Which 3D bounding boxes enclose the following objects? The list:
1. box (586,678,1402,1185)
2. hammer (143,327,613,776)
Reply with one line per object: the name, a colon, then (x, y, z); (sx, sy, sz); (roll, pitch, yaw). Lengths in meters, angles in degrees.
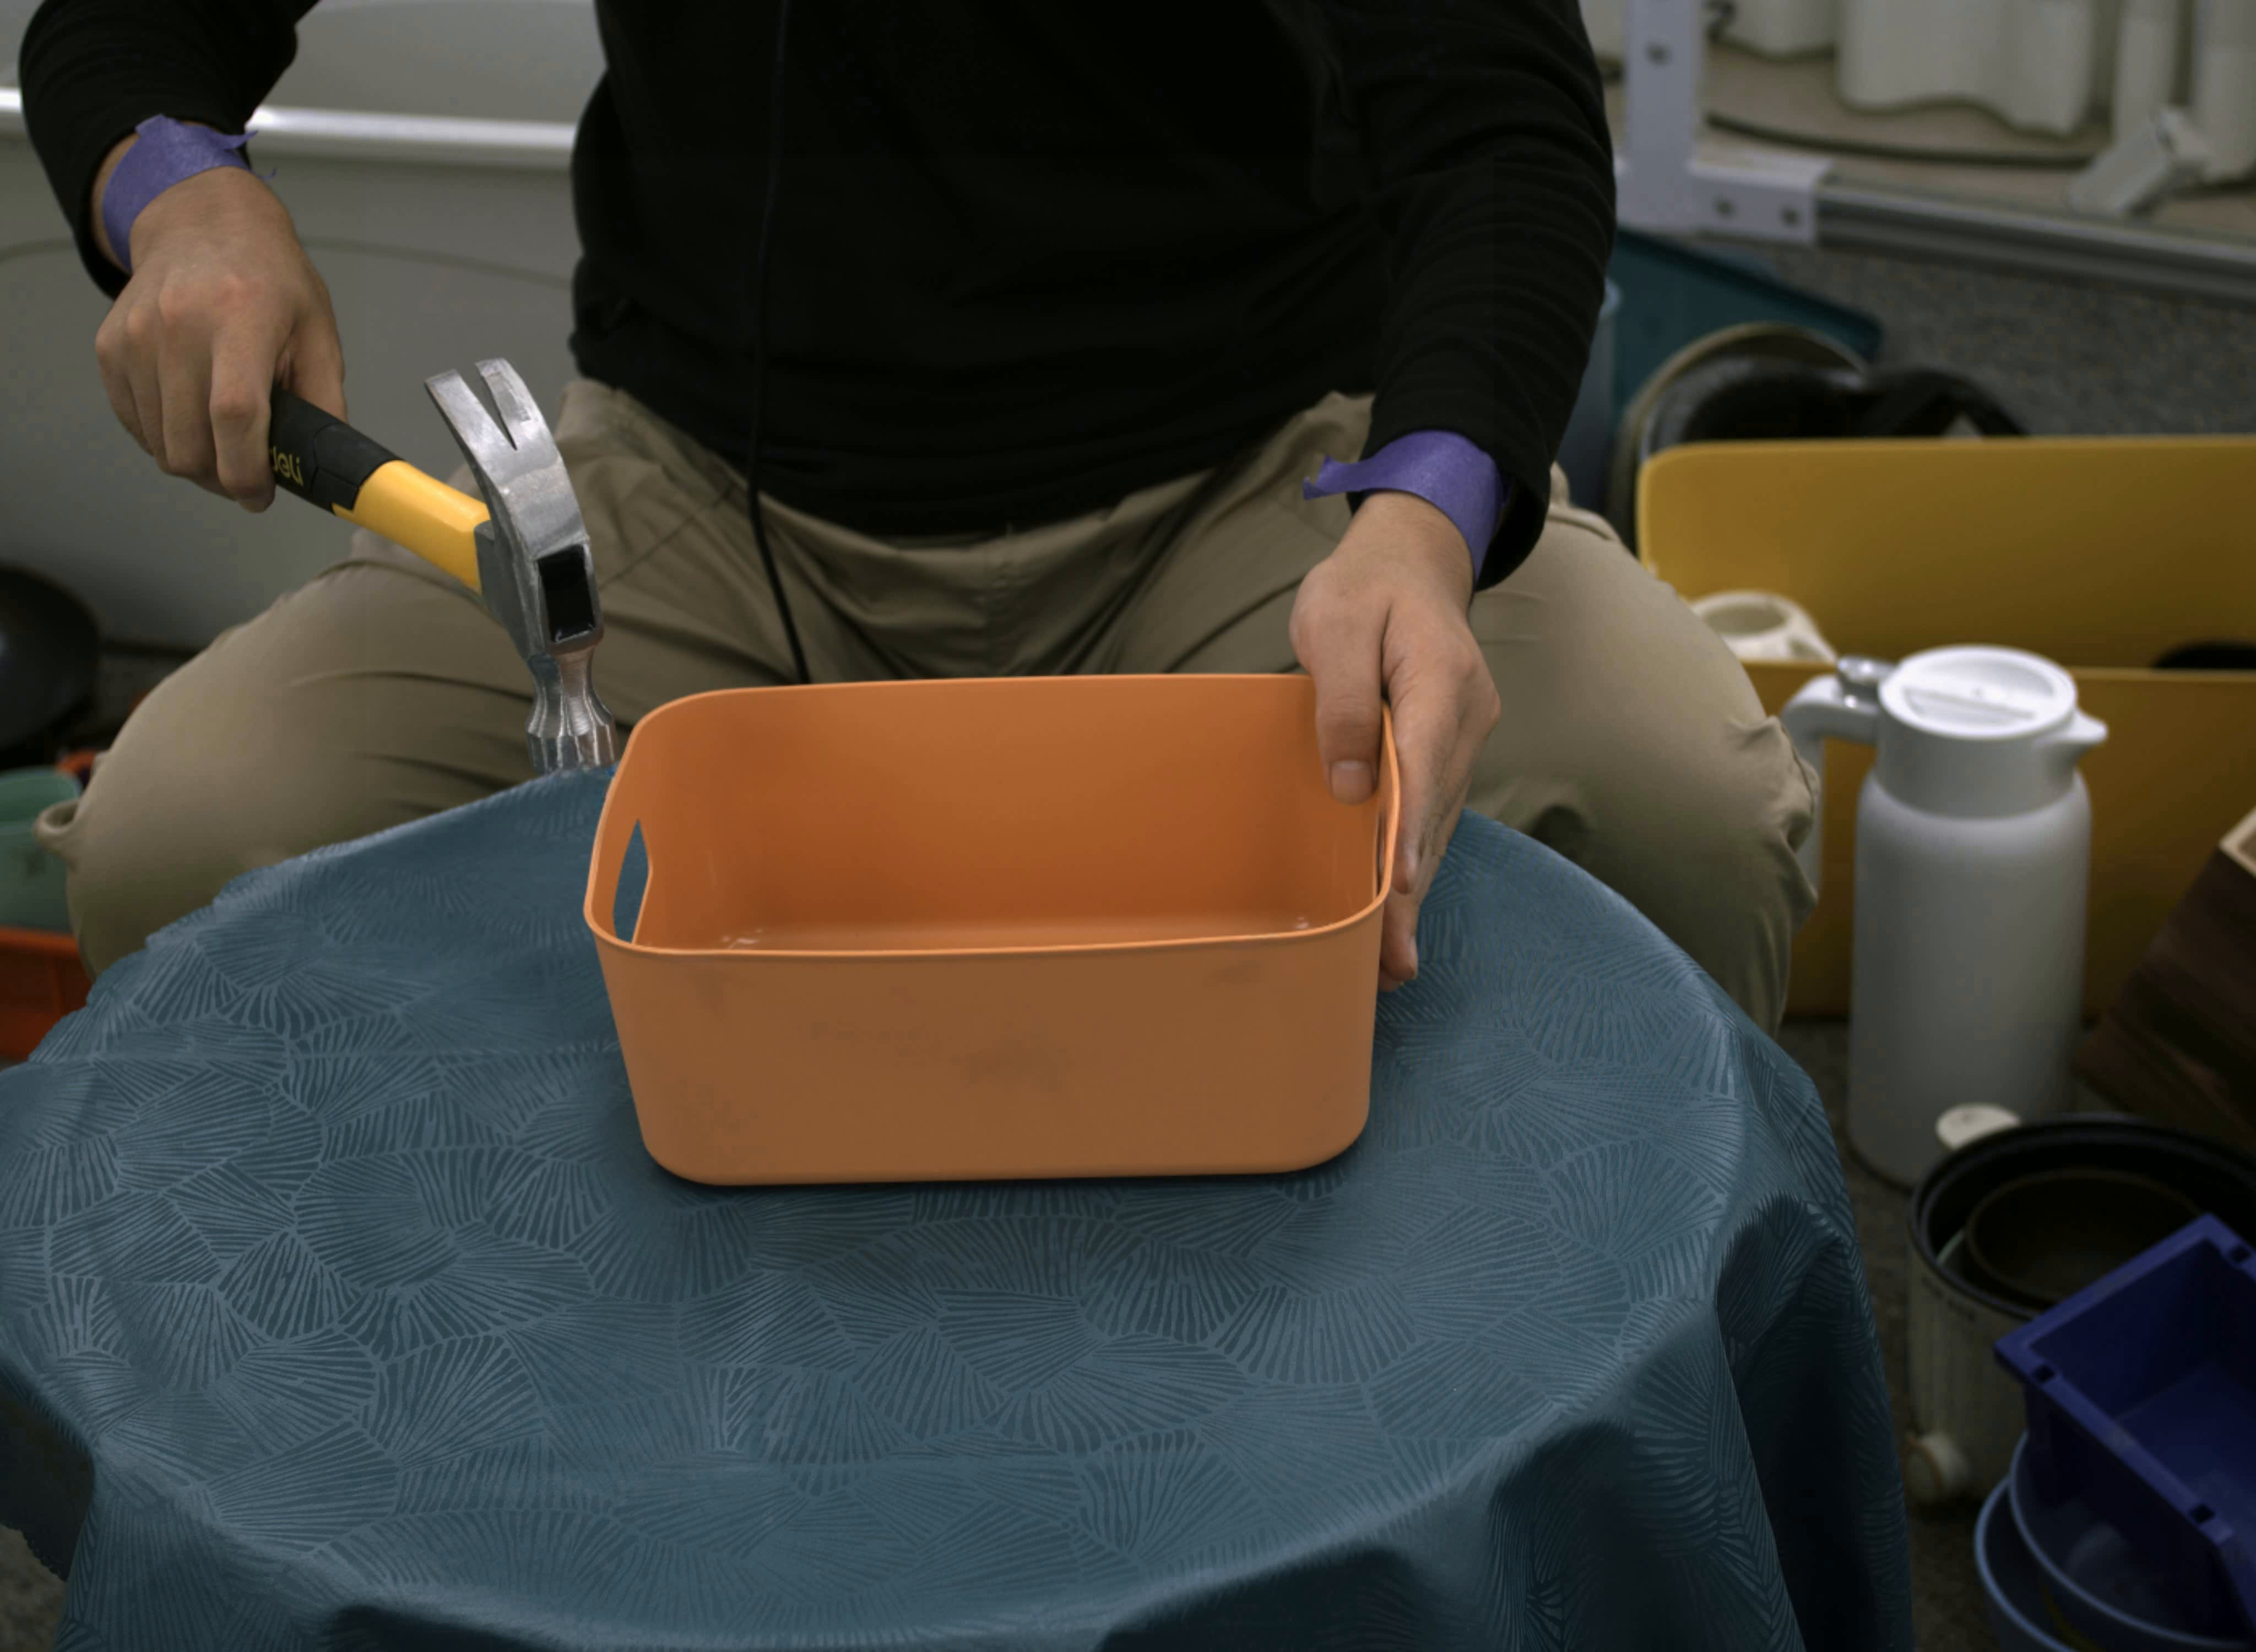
box: (-0.042, 0.037, 1.917); (0.272, 0.101, 0.202); (-1, 26, 2)
hammer: (-0.271, -0.123, 1.979); (0.032, 0.130, 0.338); (-17, 24, -27)
